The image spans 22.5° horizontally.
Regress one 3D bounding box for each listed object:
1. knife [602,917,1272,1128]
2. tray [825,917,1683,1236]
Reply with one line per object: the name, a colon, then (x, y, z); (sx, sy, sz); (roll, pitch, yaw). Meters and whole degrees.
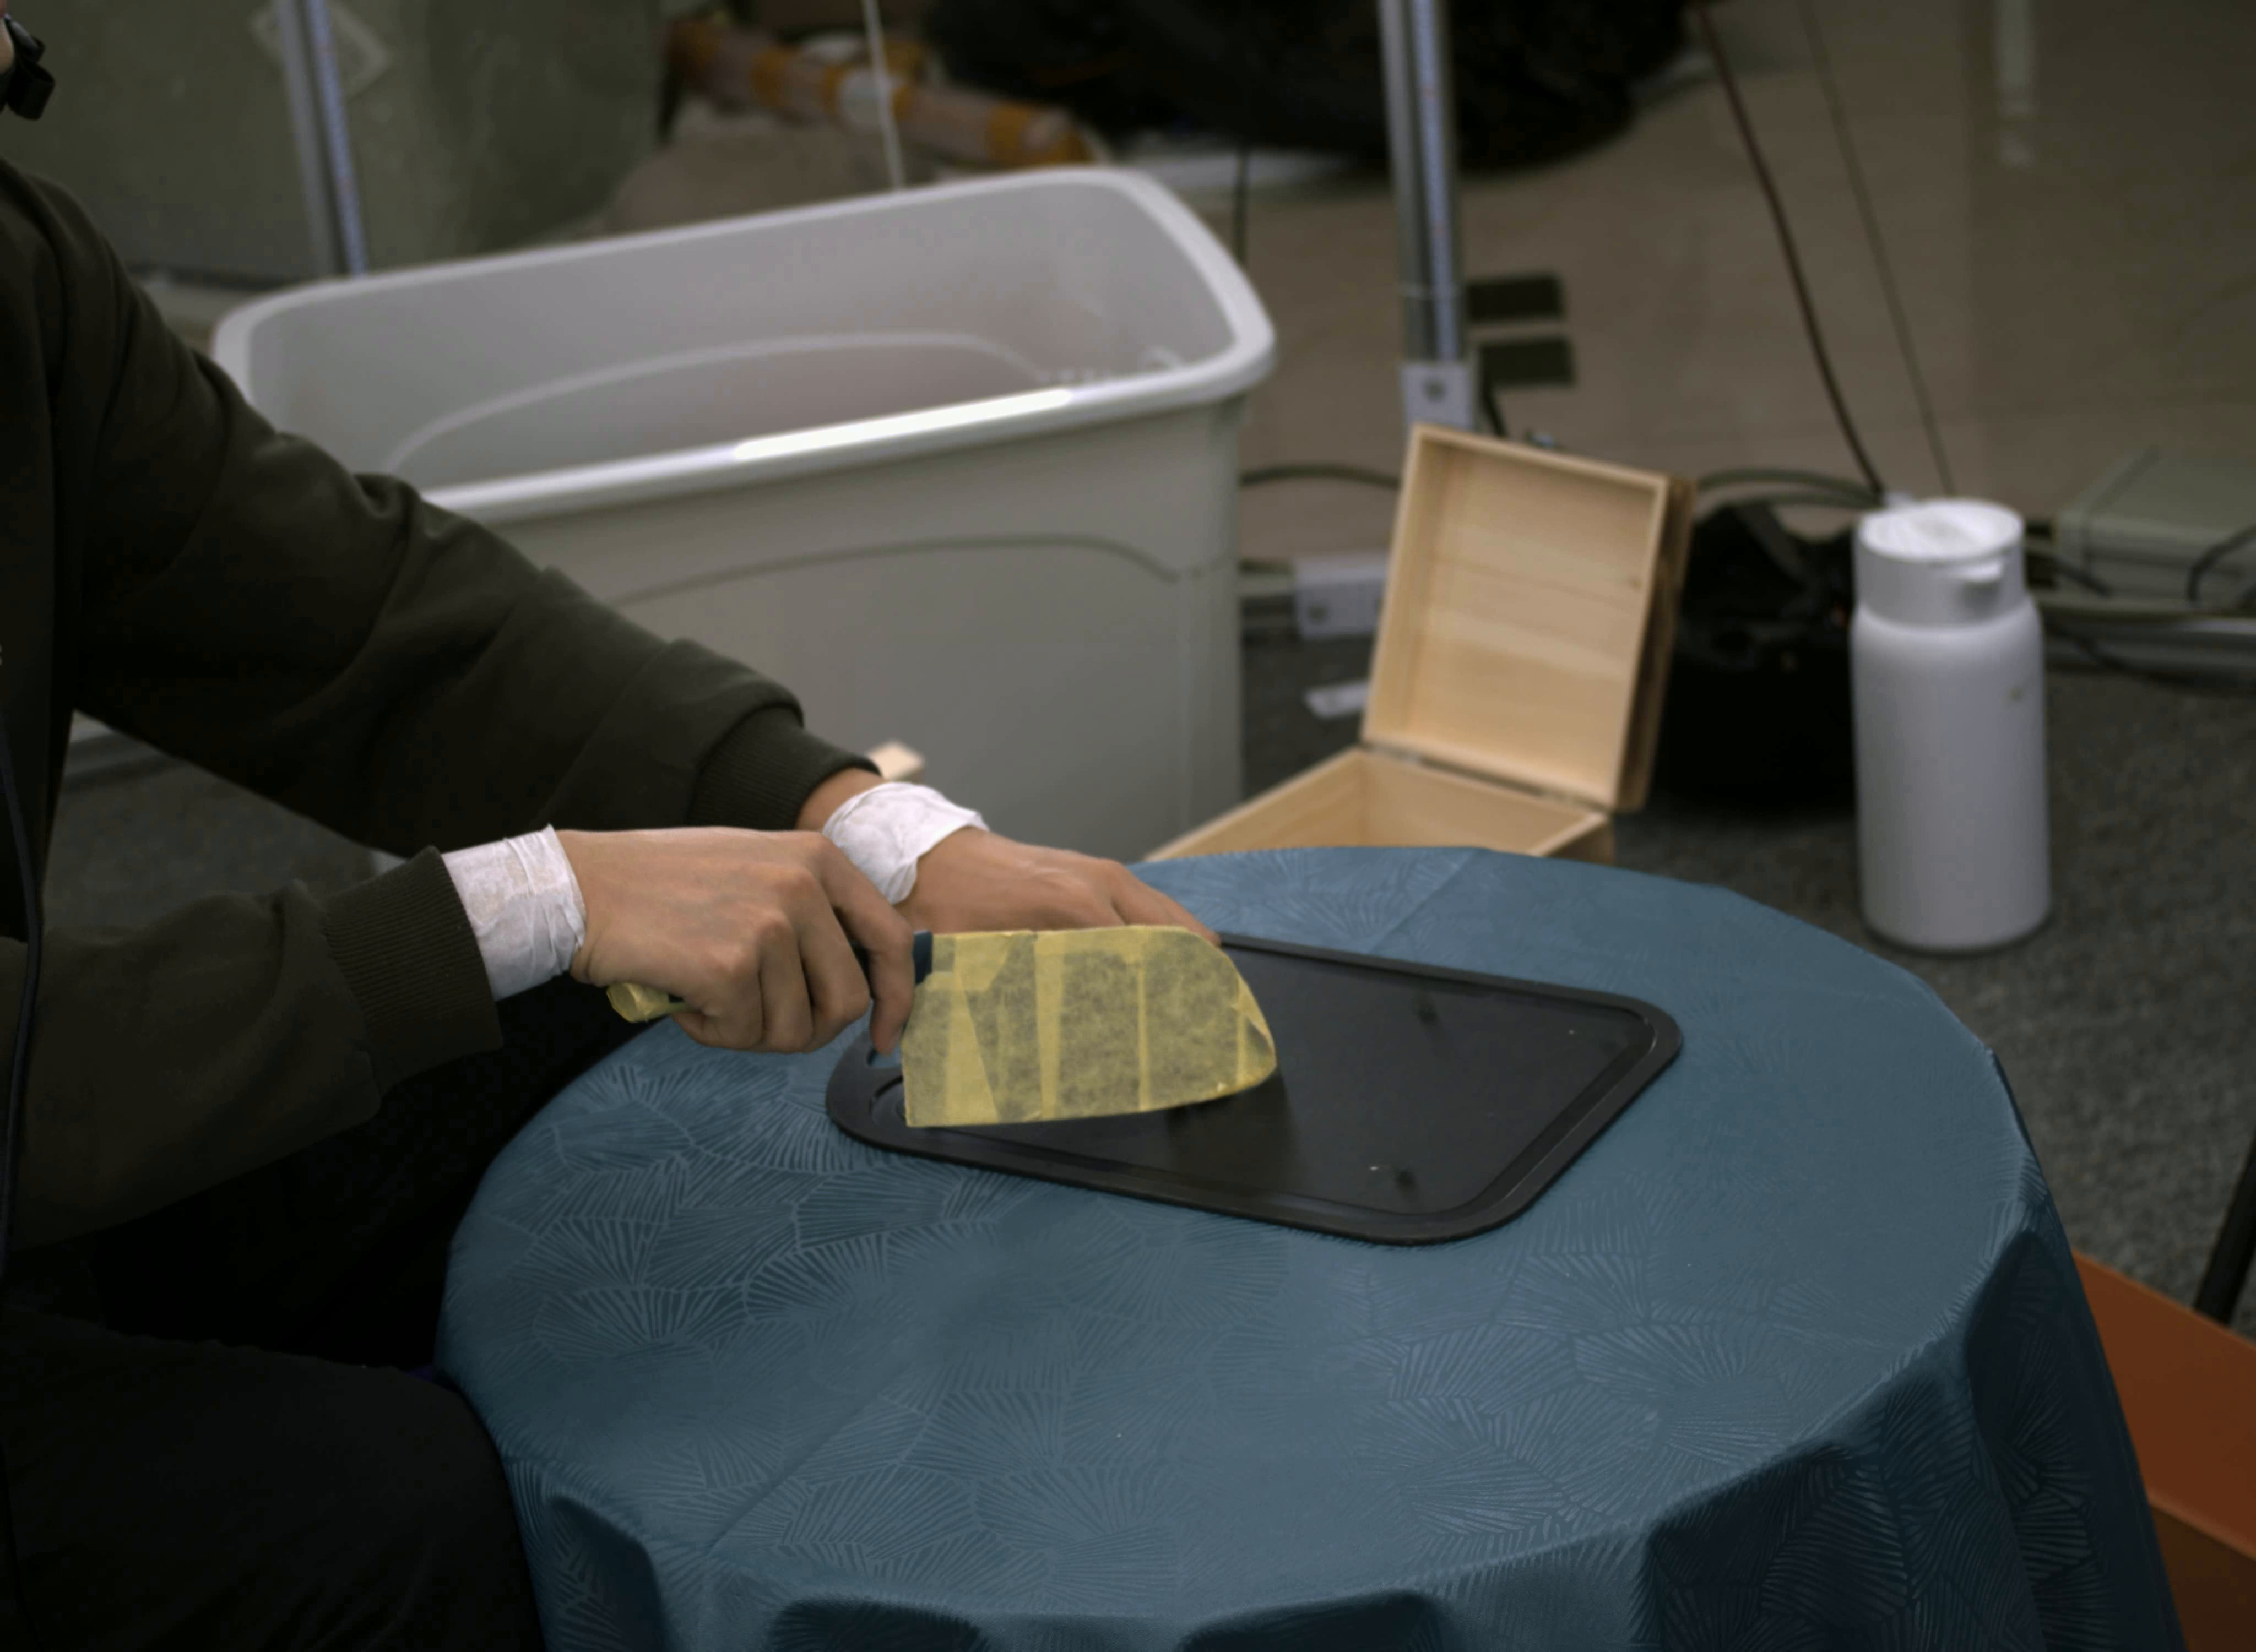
knife: (-0.067, 0.074, 2.140); (0.289, 0.081, 0.027); (1, -1, -31)
tray: (0.041, 0.093, 2.230); (0.324, 0.010, 0.208); (9, 29, 30)
